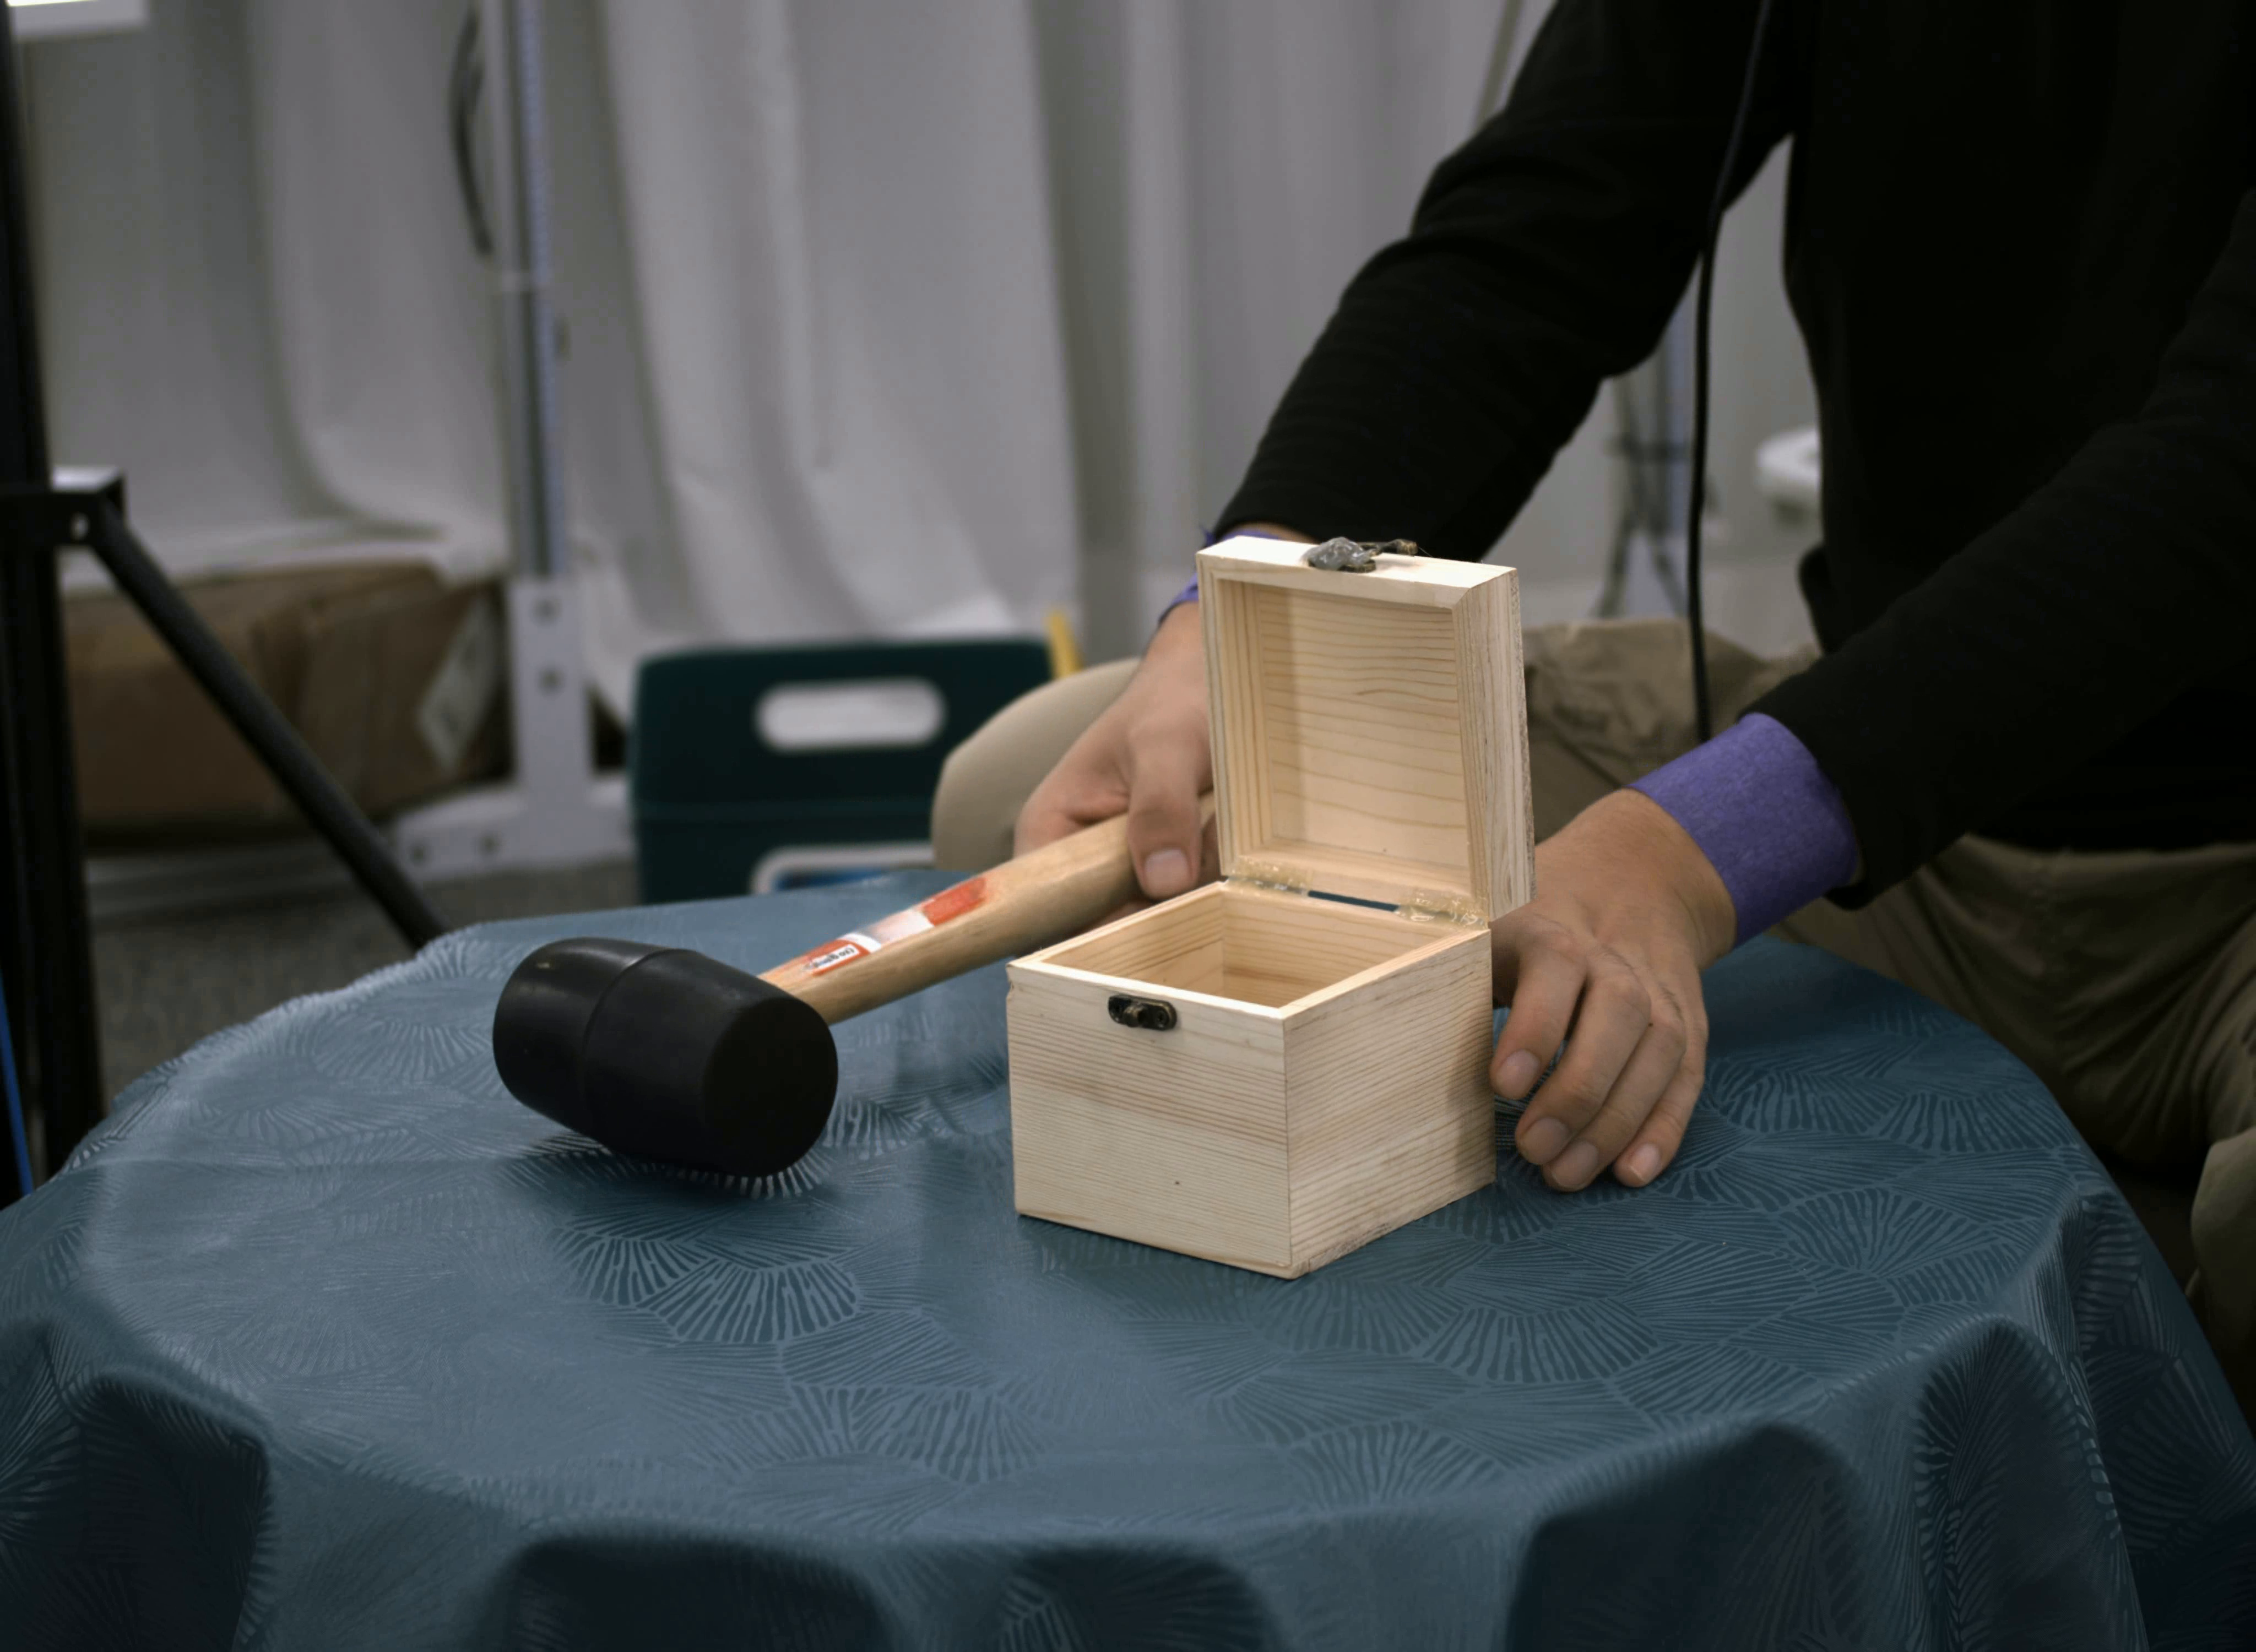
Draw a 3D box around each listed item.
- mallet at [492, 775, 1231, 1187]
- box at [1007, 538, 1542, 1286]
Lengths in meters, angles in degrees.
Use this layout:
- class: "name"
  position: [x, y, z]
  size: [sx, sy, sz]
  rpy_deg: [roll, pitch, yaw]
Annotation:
- class: "mallet"
  position: [-0.044, 0.023, 1.678]
  size: [0.332, 0.064, 0.104]
  rpy_deg: [-26, 30, -38]
- class: "box"
  position: [0.042, 0.020, 1.529]
  size: [0.105, 0.184, 0.131]
  rpy_deg: [11, 17, 38]
